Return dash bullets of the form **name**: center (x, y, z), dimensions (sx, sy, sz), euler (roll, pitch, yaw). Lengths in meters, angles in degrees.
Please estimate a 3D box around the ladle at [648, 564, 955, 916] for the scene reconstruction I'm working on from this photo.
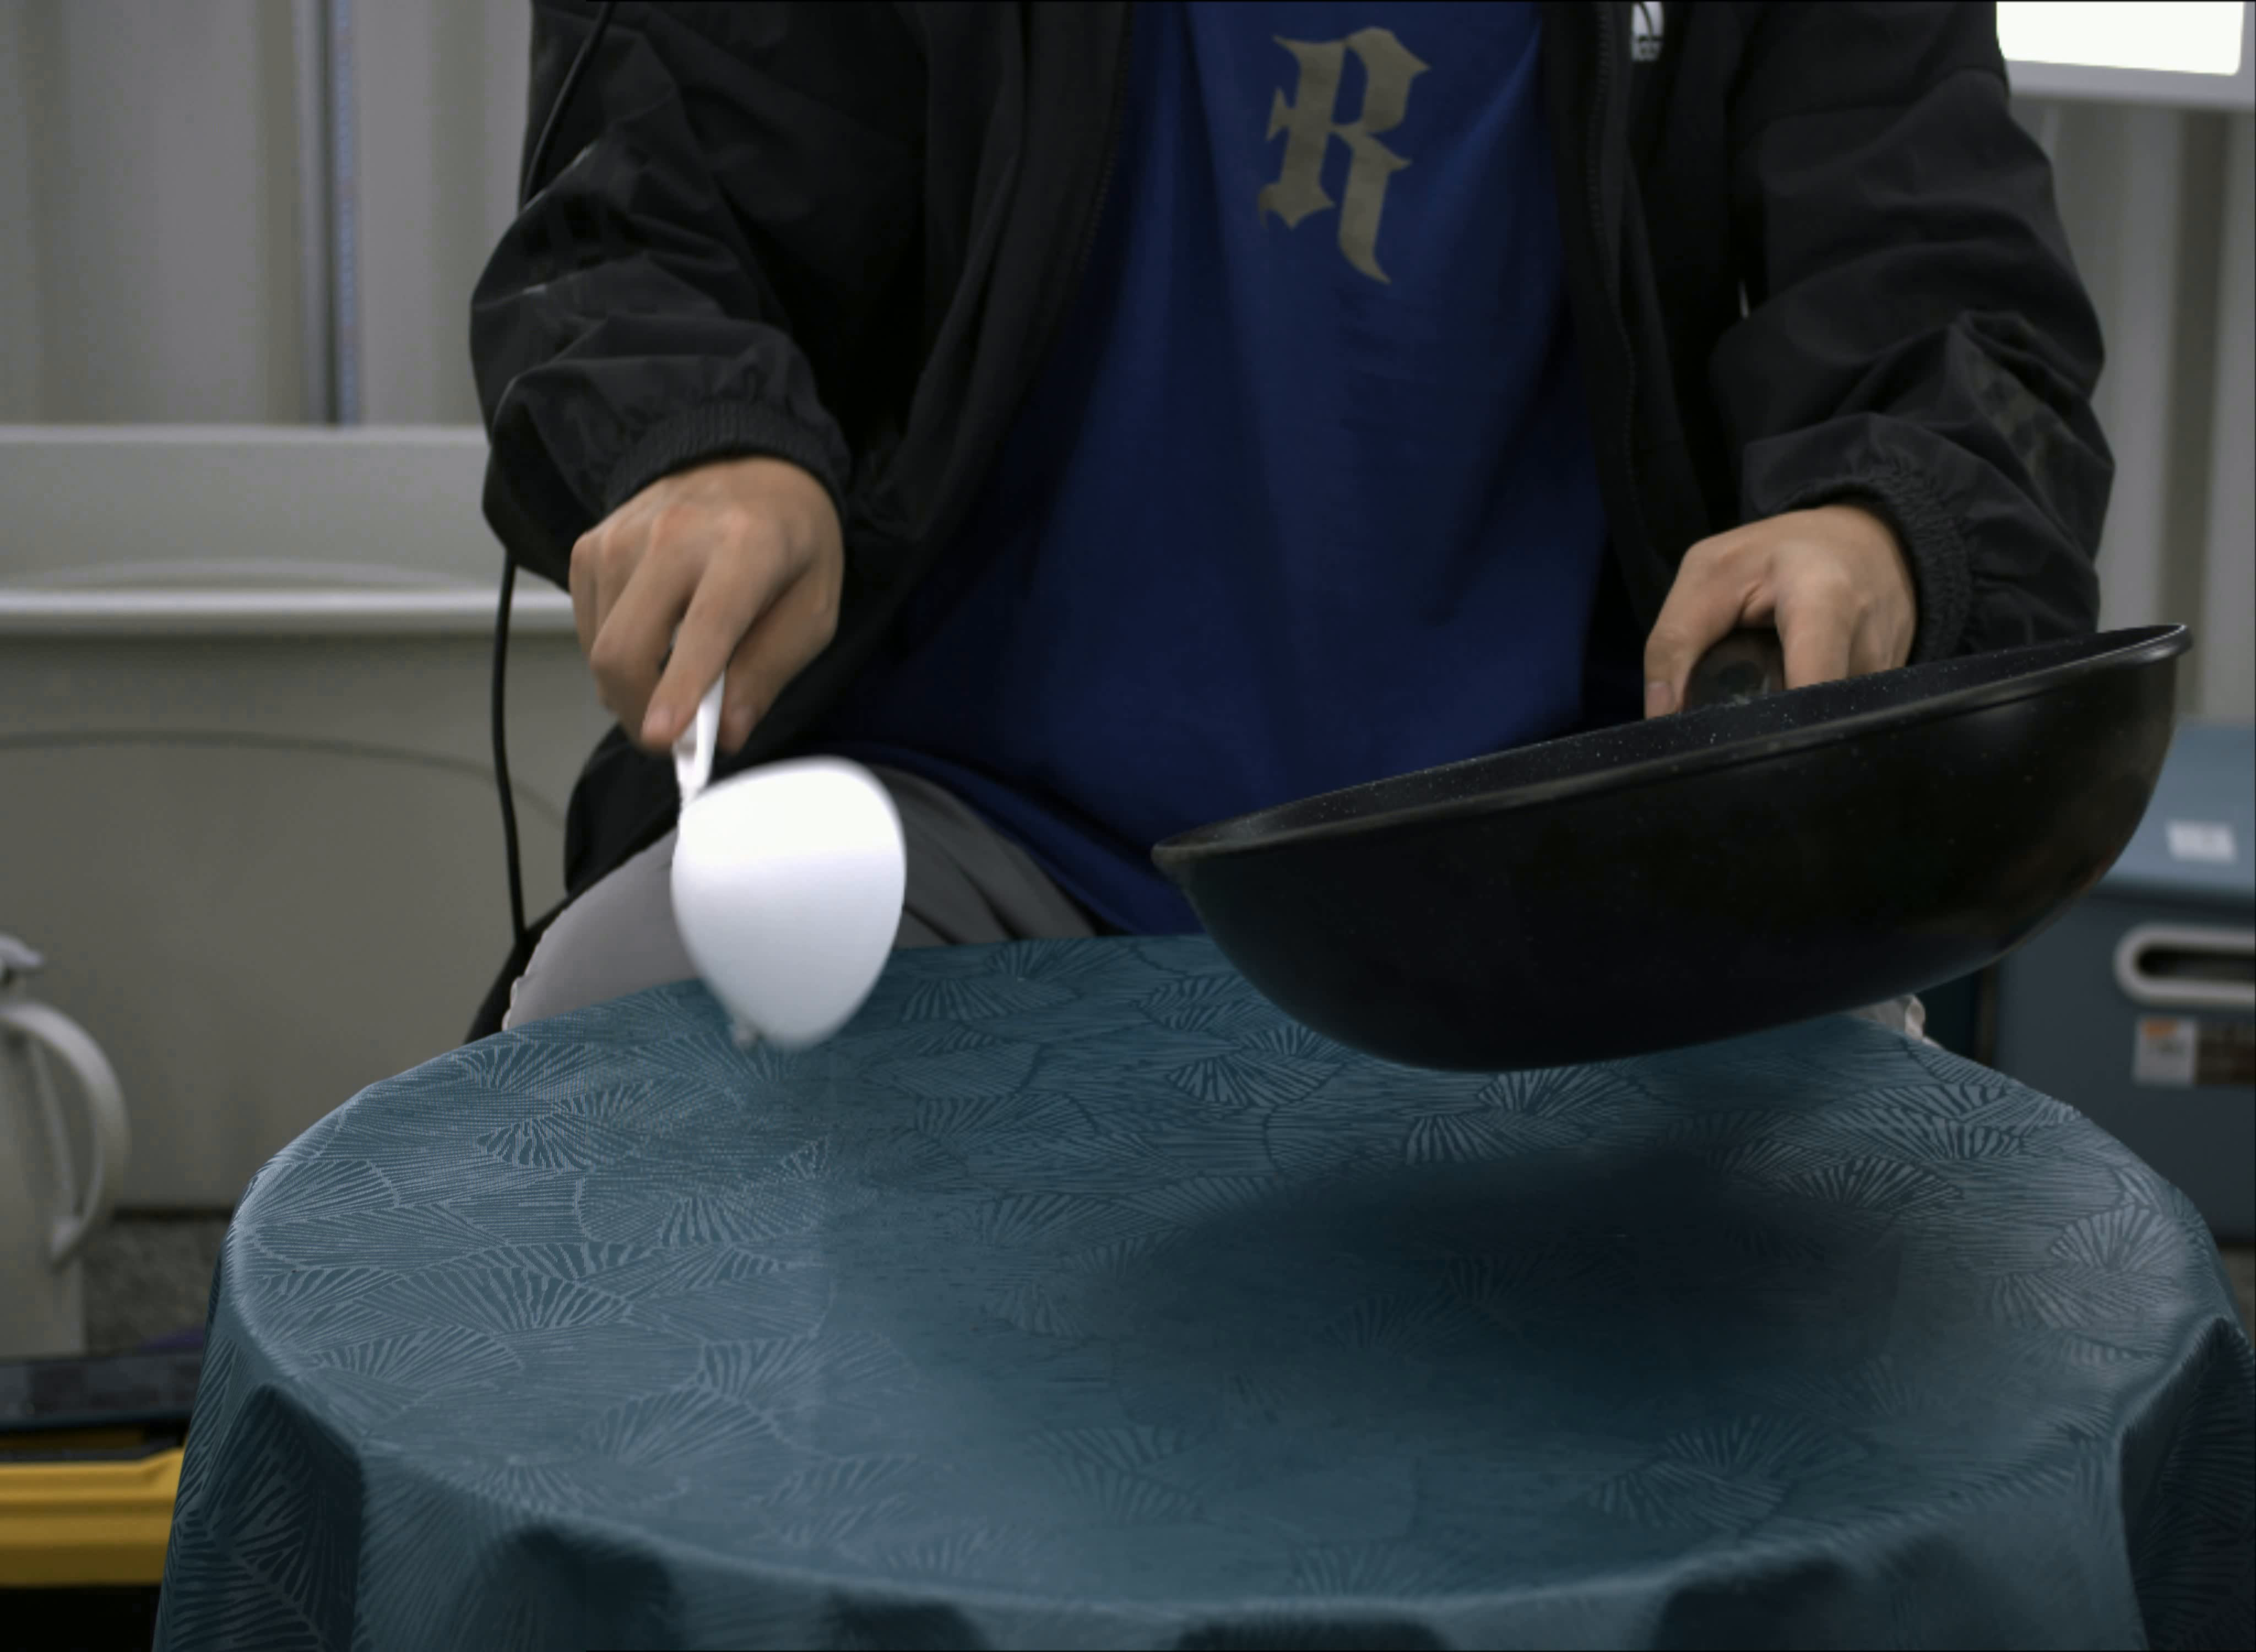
- **ladle**: center (-0.112, -0.043, 1.741), dimensions (0.070, 0.090, 0.290), euler (8, 11, -12)

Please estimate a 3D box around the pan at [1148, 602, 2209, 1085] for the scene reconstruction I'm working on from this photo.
- **pan**: center (0.180, -0.001, 1.609), dimensions (0.308, 0.112, 0.477), euler (-10, 3, 12)
